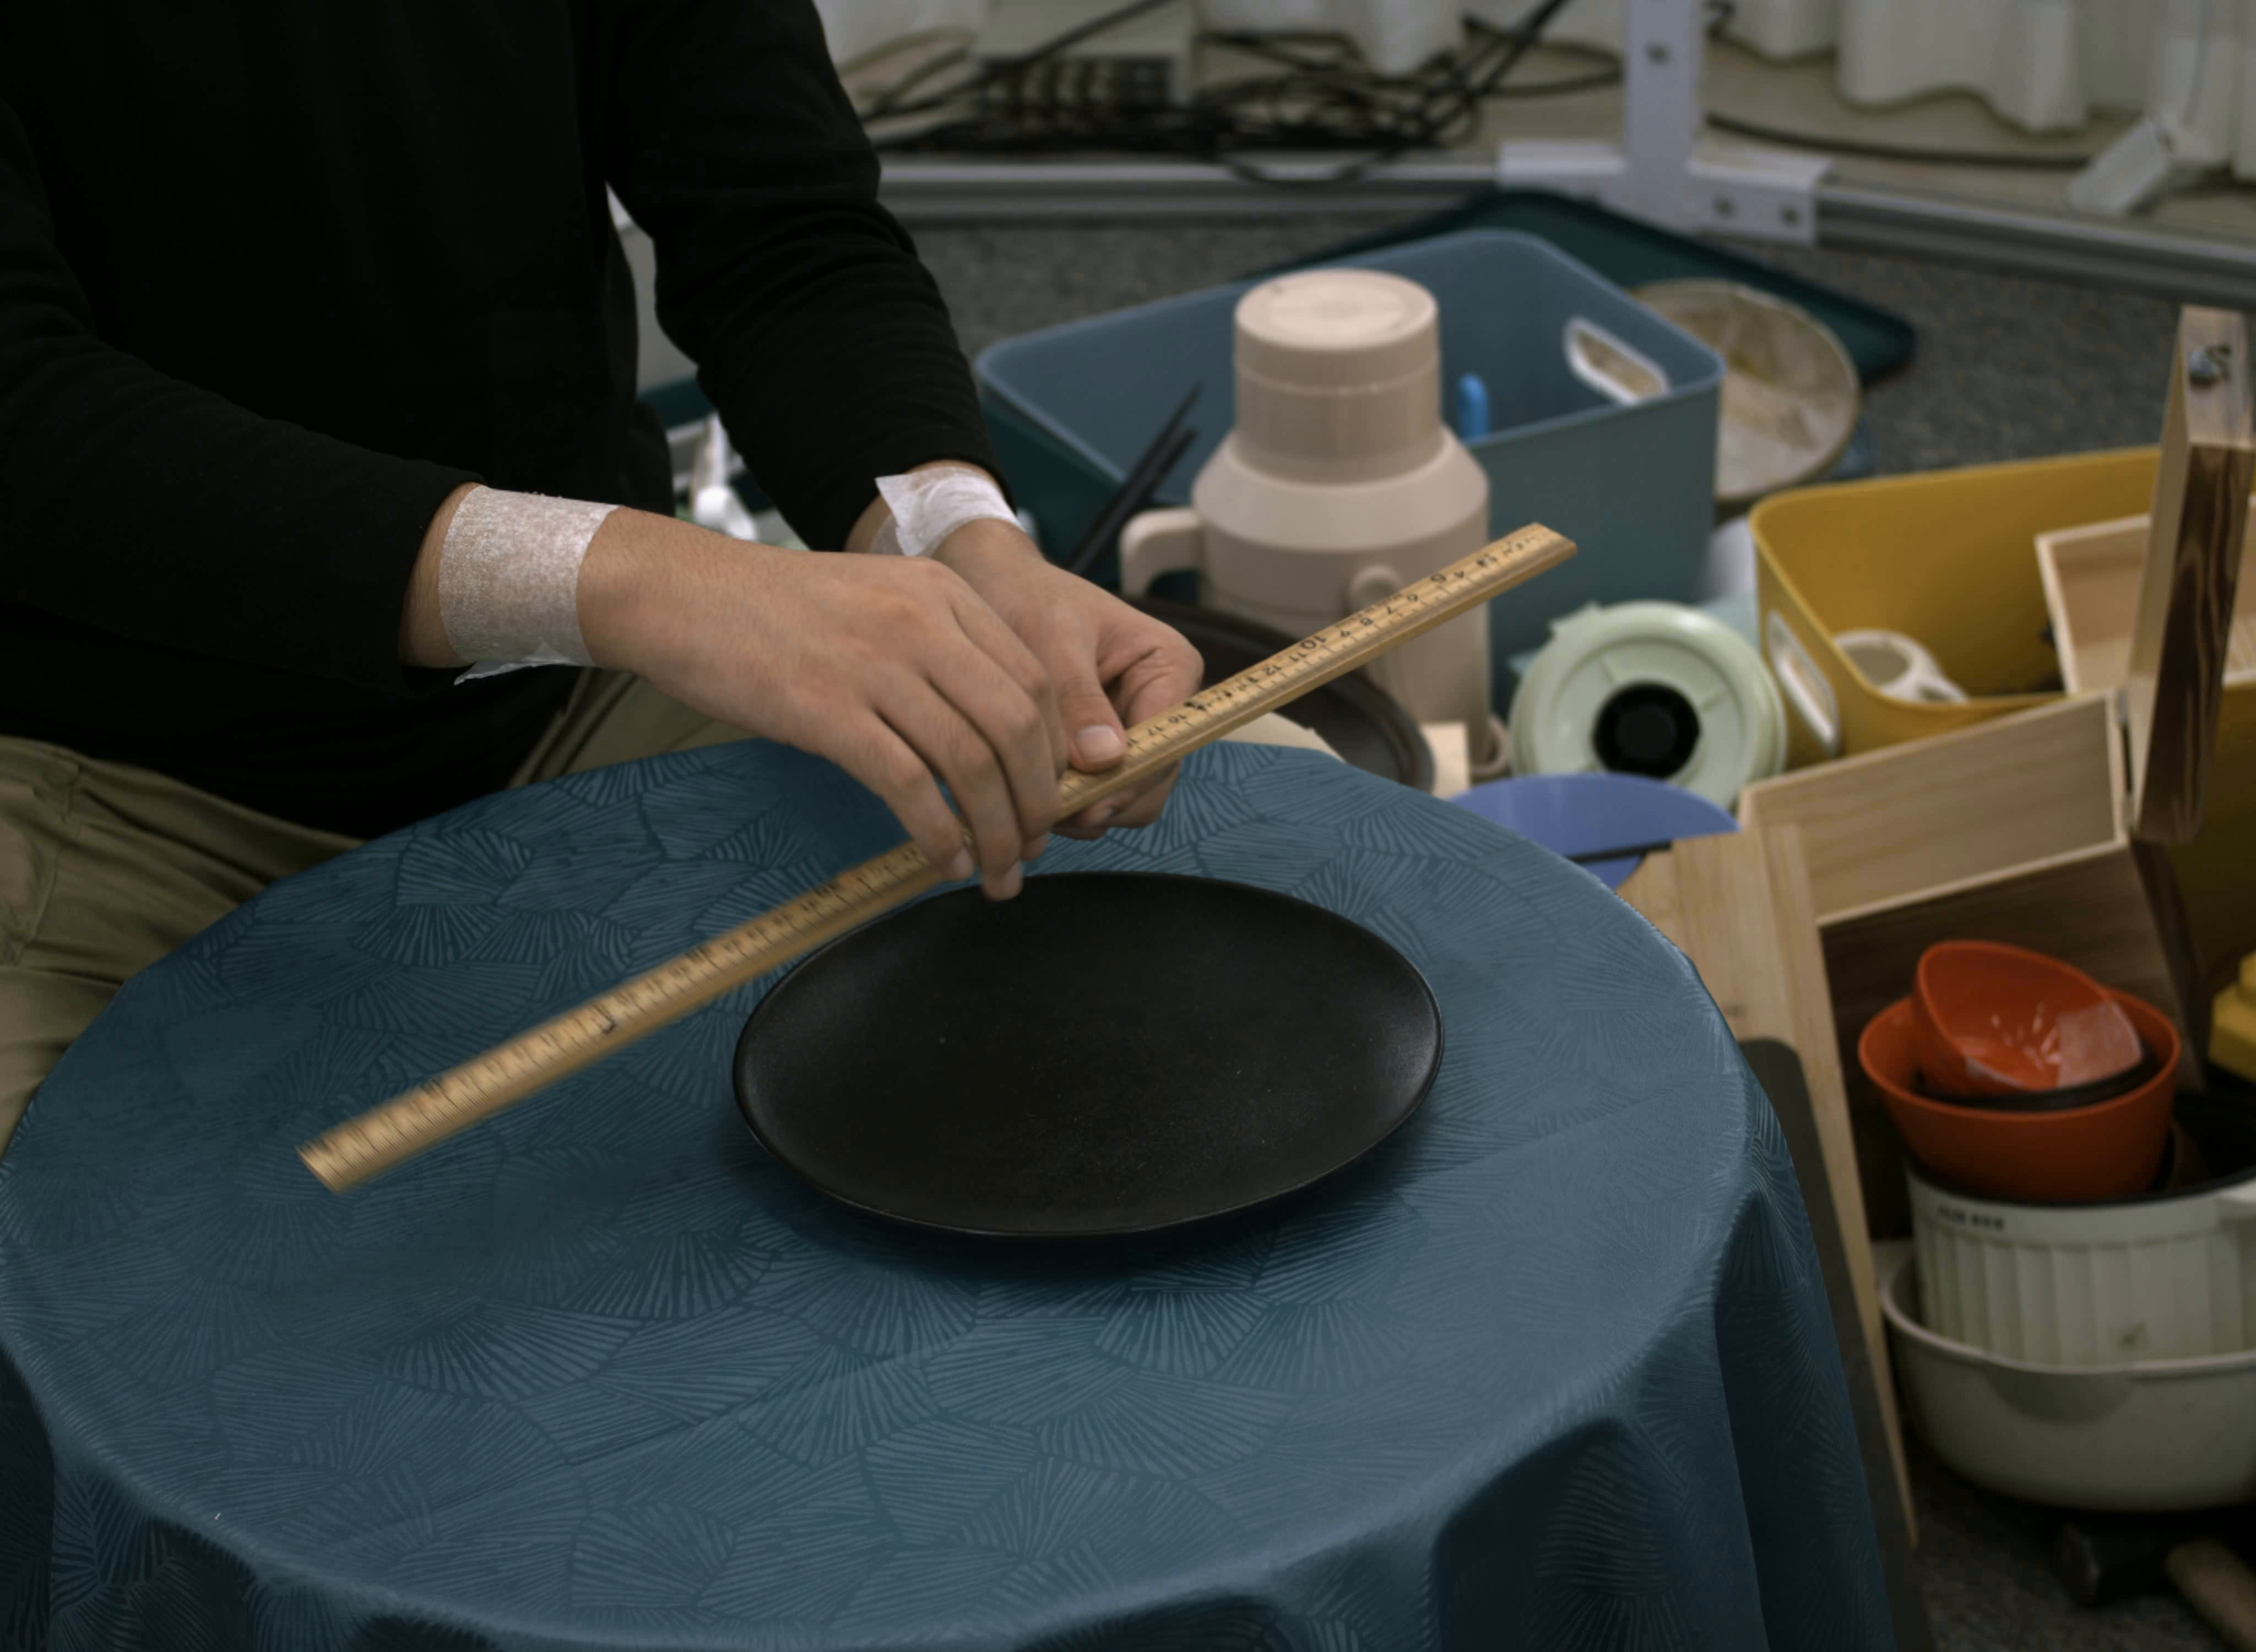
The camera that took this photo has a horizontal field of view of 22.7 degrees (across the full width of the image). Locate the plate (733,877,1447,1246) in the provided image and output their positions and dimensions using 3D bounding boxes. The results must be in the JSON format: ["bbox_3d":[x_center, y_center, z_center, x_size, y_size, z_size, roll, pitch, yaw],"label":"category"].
[{"bbox_3d":[-0.012,0.083,1.911,0.243,0.023,0.248,-3,27,2],"label":"plate"}]

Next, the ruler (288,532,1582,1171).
[{"bbox_3d":[-0.056,0.003,1.889,0.504,0.006,0.027,-26,30,-22],"label":"ruler"}]
